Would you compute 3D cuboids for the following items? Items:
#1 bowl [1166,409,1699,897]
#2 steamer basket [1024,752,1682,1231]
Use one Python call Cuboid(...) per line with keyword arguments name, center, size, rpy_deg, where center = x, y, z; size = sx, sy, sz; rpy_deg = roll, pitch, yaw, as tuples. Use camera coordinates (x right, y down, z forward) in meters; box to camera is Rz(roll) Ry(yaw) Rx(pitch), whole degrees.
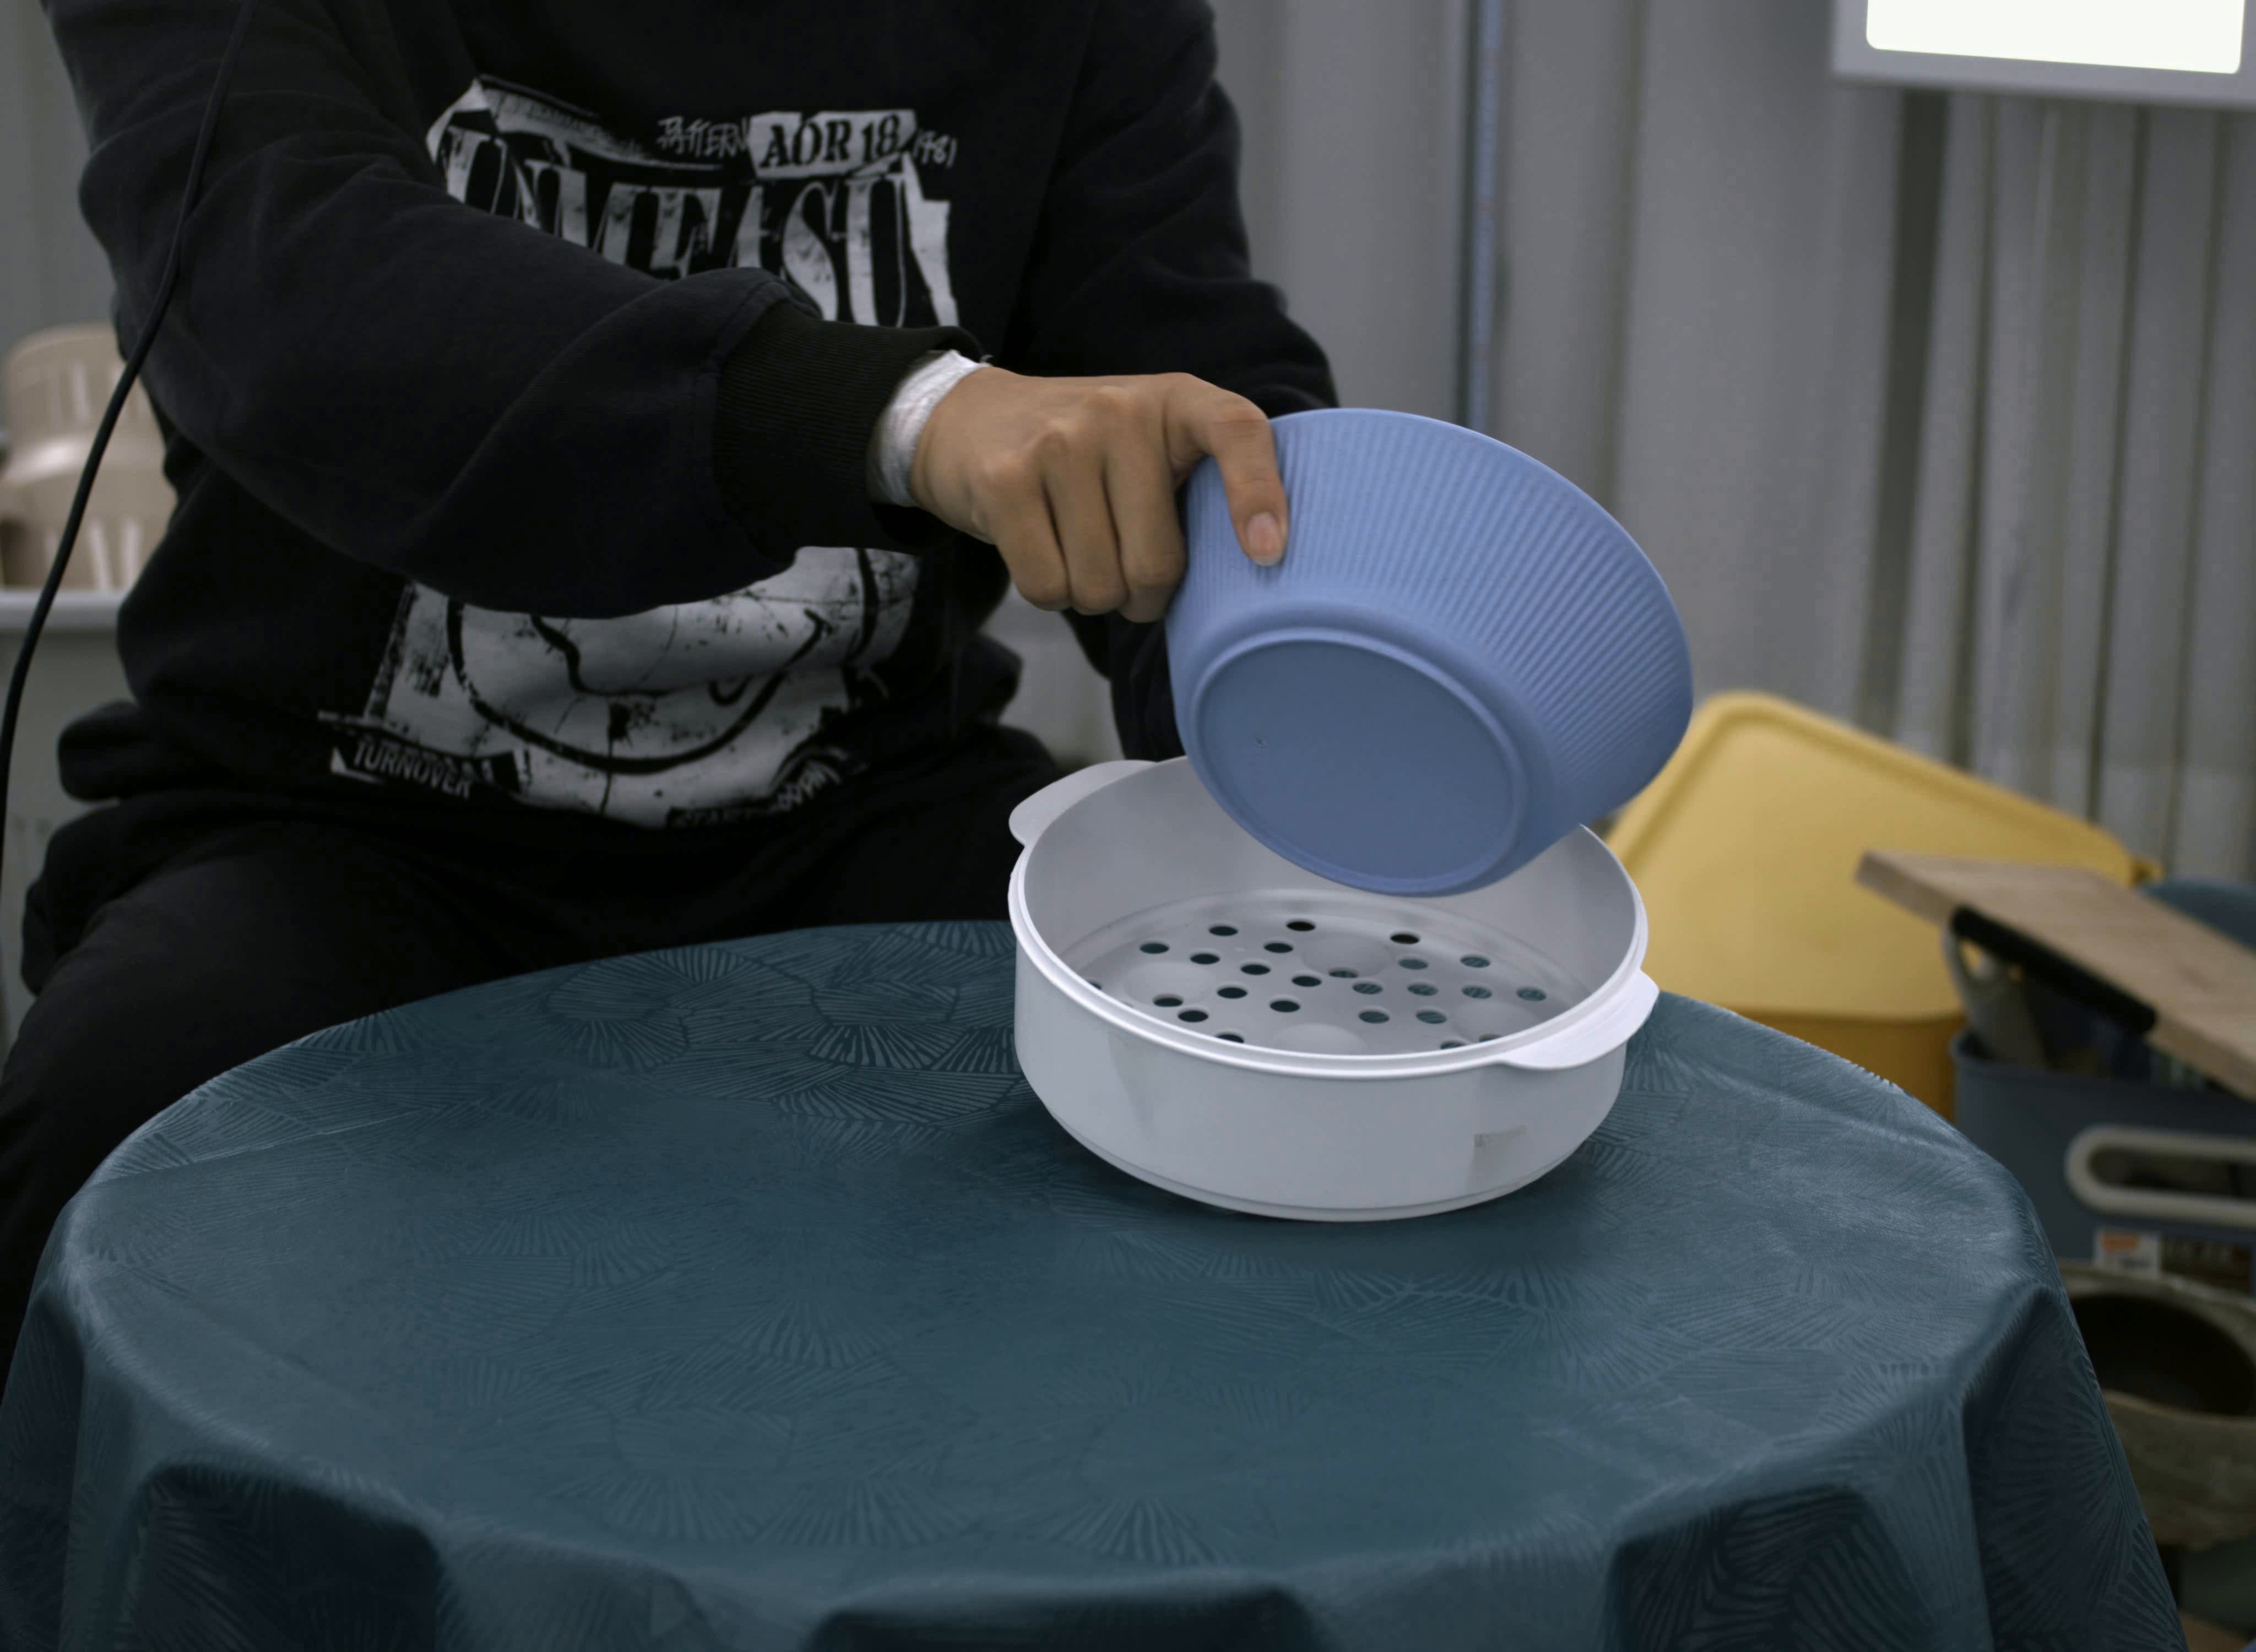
Cuboid(name="bowl", center=(0.084, -0.041, 1.632), size=(0.174, 0.178, 0.070), rpy_deg=(7, 46, 21))
Cuboid(name="steamer basket", center=(0.066, 0.051, 1.662), size=(0.227, 0.070, 0.202), rpy_deg=(26, 36, 30))
